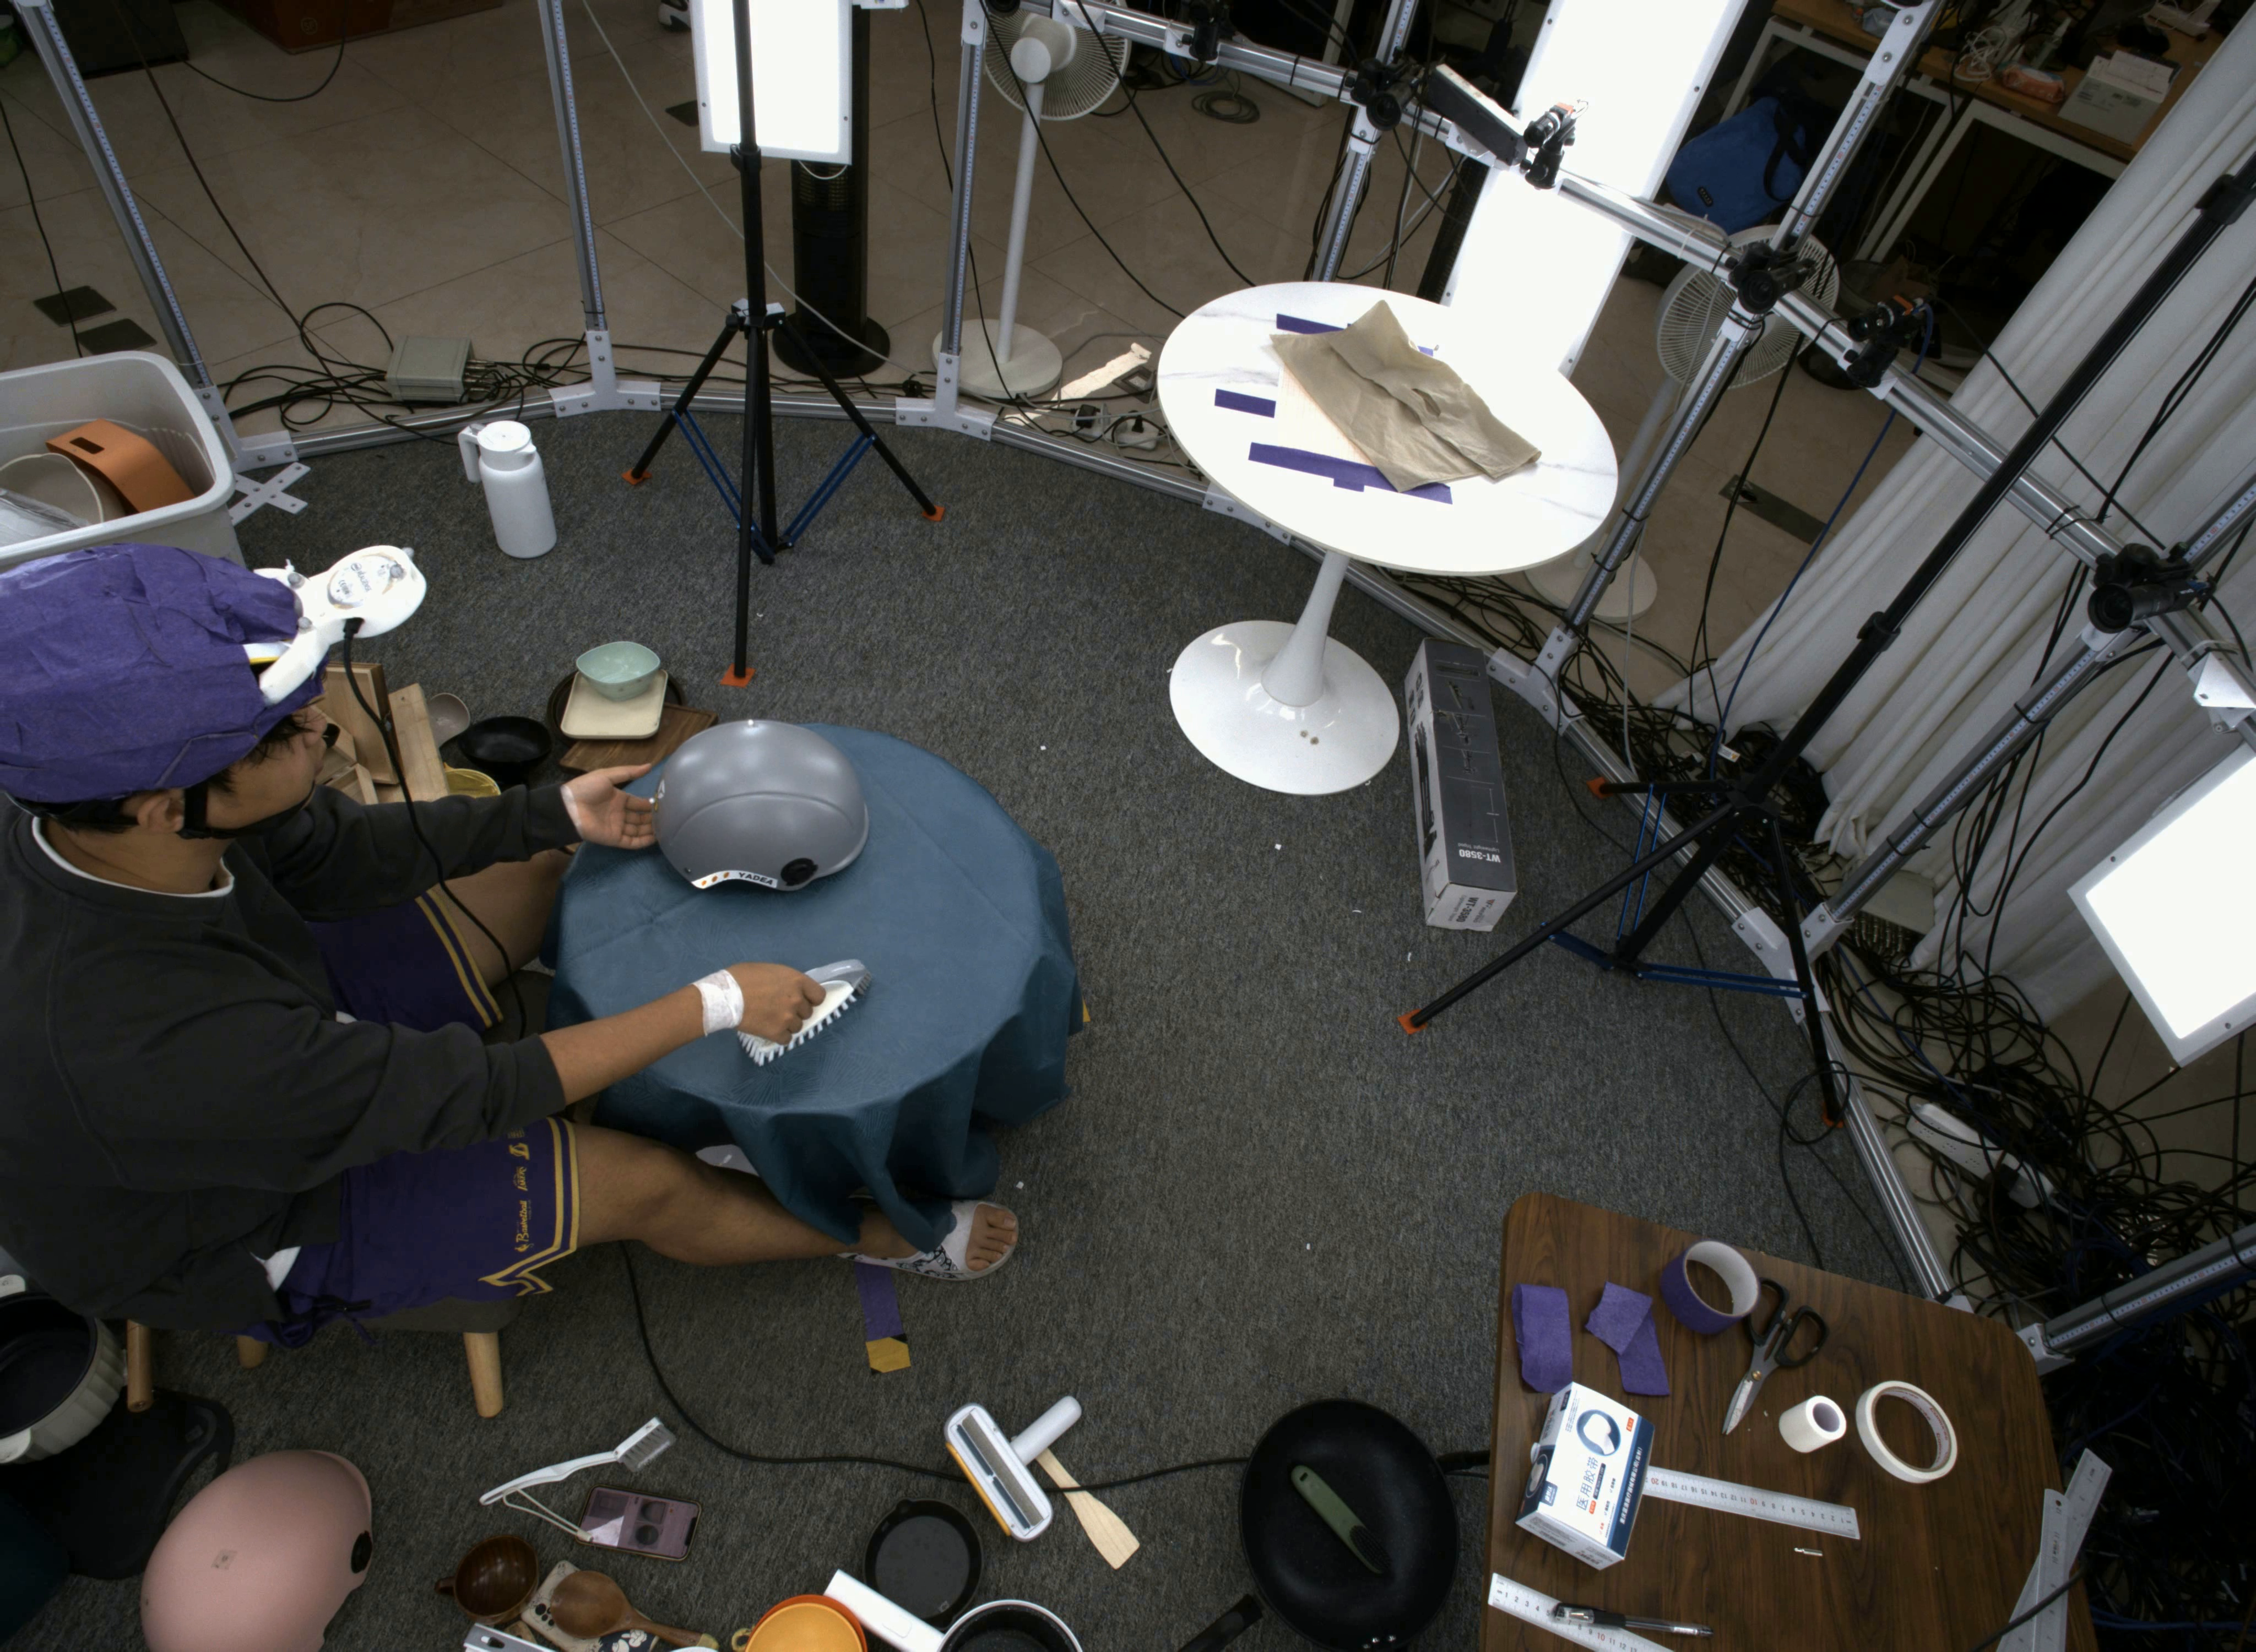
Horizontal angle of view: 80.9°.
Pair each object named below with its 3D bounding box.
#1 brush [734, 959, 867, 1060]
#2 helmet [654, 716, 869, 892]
[{"bbox_3d":[-0.380,0.196,1.533,0.176,0.096,0.060,-27,65,-34],"label":"brush"},{"bbox_3d":[-0.466,-0.049,1.649,0.278,0.171,0.227,-6,57,-20],"label":"helmet"}]
